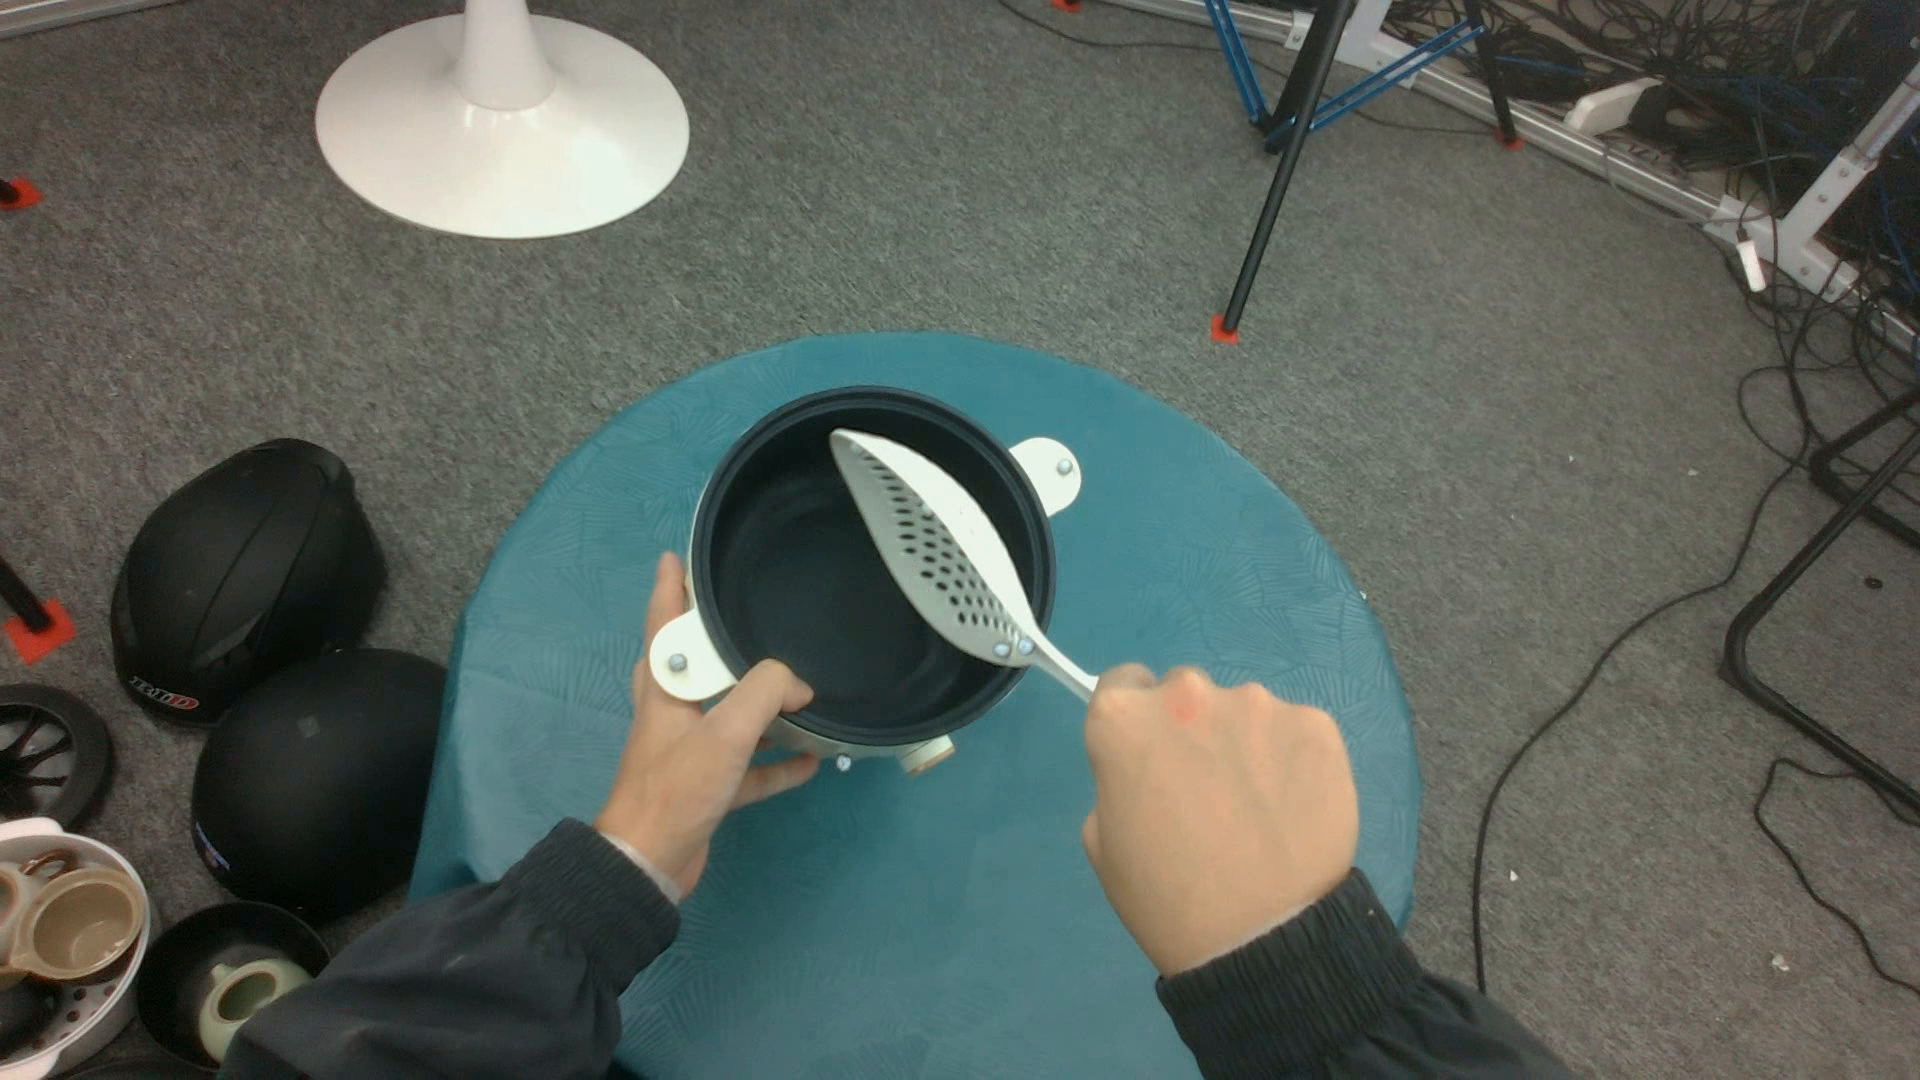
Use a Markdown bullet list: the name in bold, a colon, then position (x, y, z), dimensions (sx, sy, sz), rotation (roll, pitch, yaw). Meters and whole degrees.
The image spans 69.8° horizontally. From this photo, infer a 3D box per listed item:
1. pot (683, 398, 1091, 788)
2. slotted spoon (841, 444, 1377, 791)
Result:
- **pot**: position (-0.040, 0.039, 0.742), dimensions (0.241, 0.142, 0.190), rotation (-31, 79, -19)
- **slotted spoon**: position (0.048, 0.039, 0.621), dimensions (0.050, 0.136, 0.348), rotation (-33, 34, -13)
